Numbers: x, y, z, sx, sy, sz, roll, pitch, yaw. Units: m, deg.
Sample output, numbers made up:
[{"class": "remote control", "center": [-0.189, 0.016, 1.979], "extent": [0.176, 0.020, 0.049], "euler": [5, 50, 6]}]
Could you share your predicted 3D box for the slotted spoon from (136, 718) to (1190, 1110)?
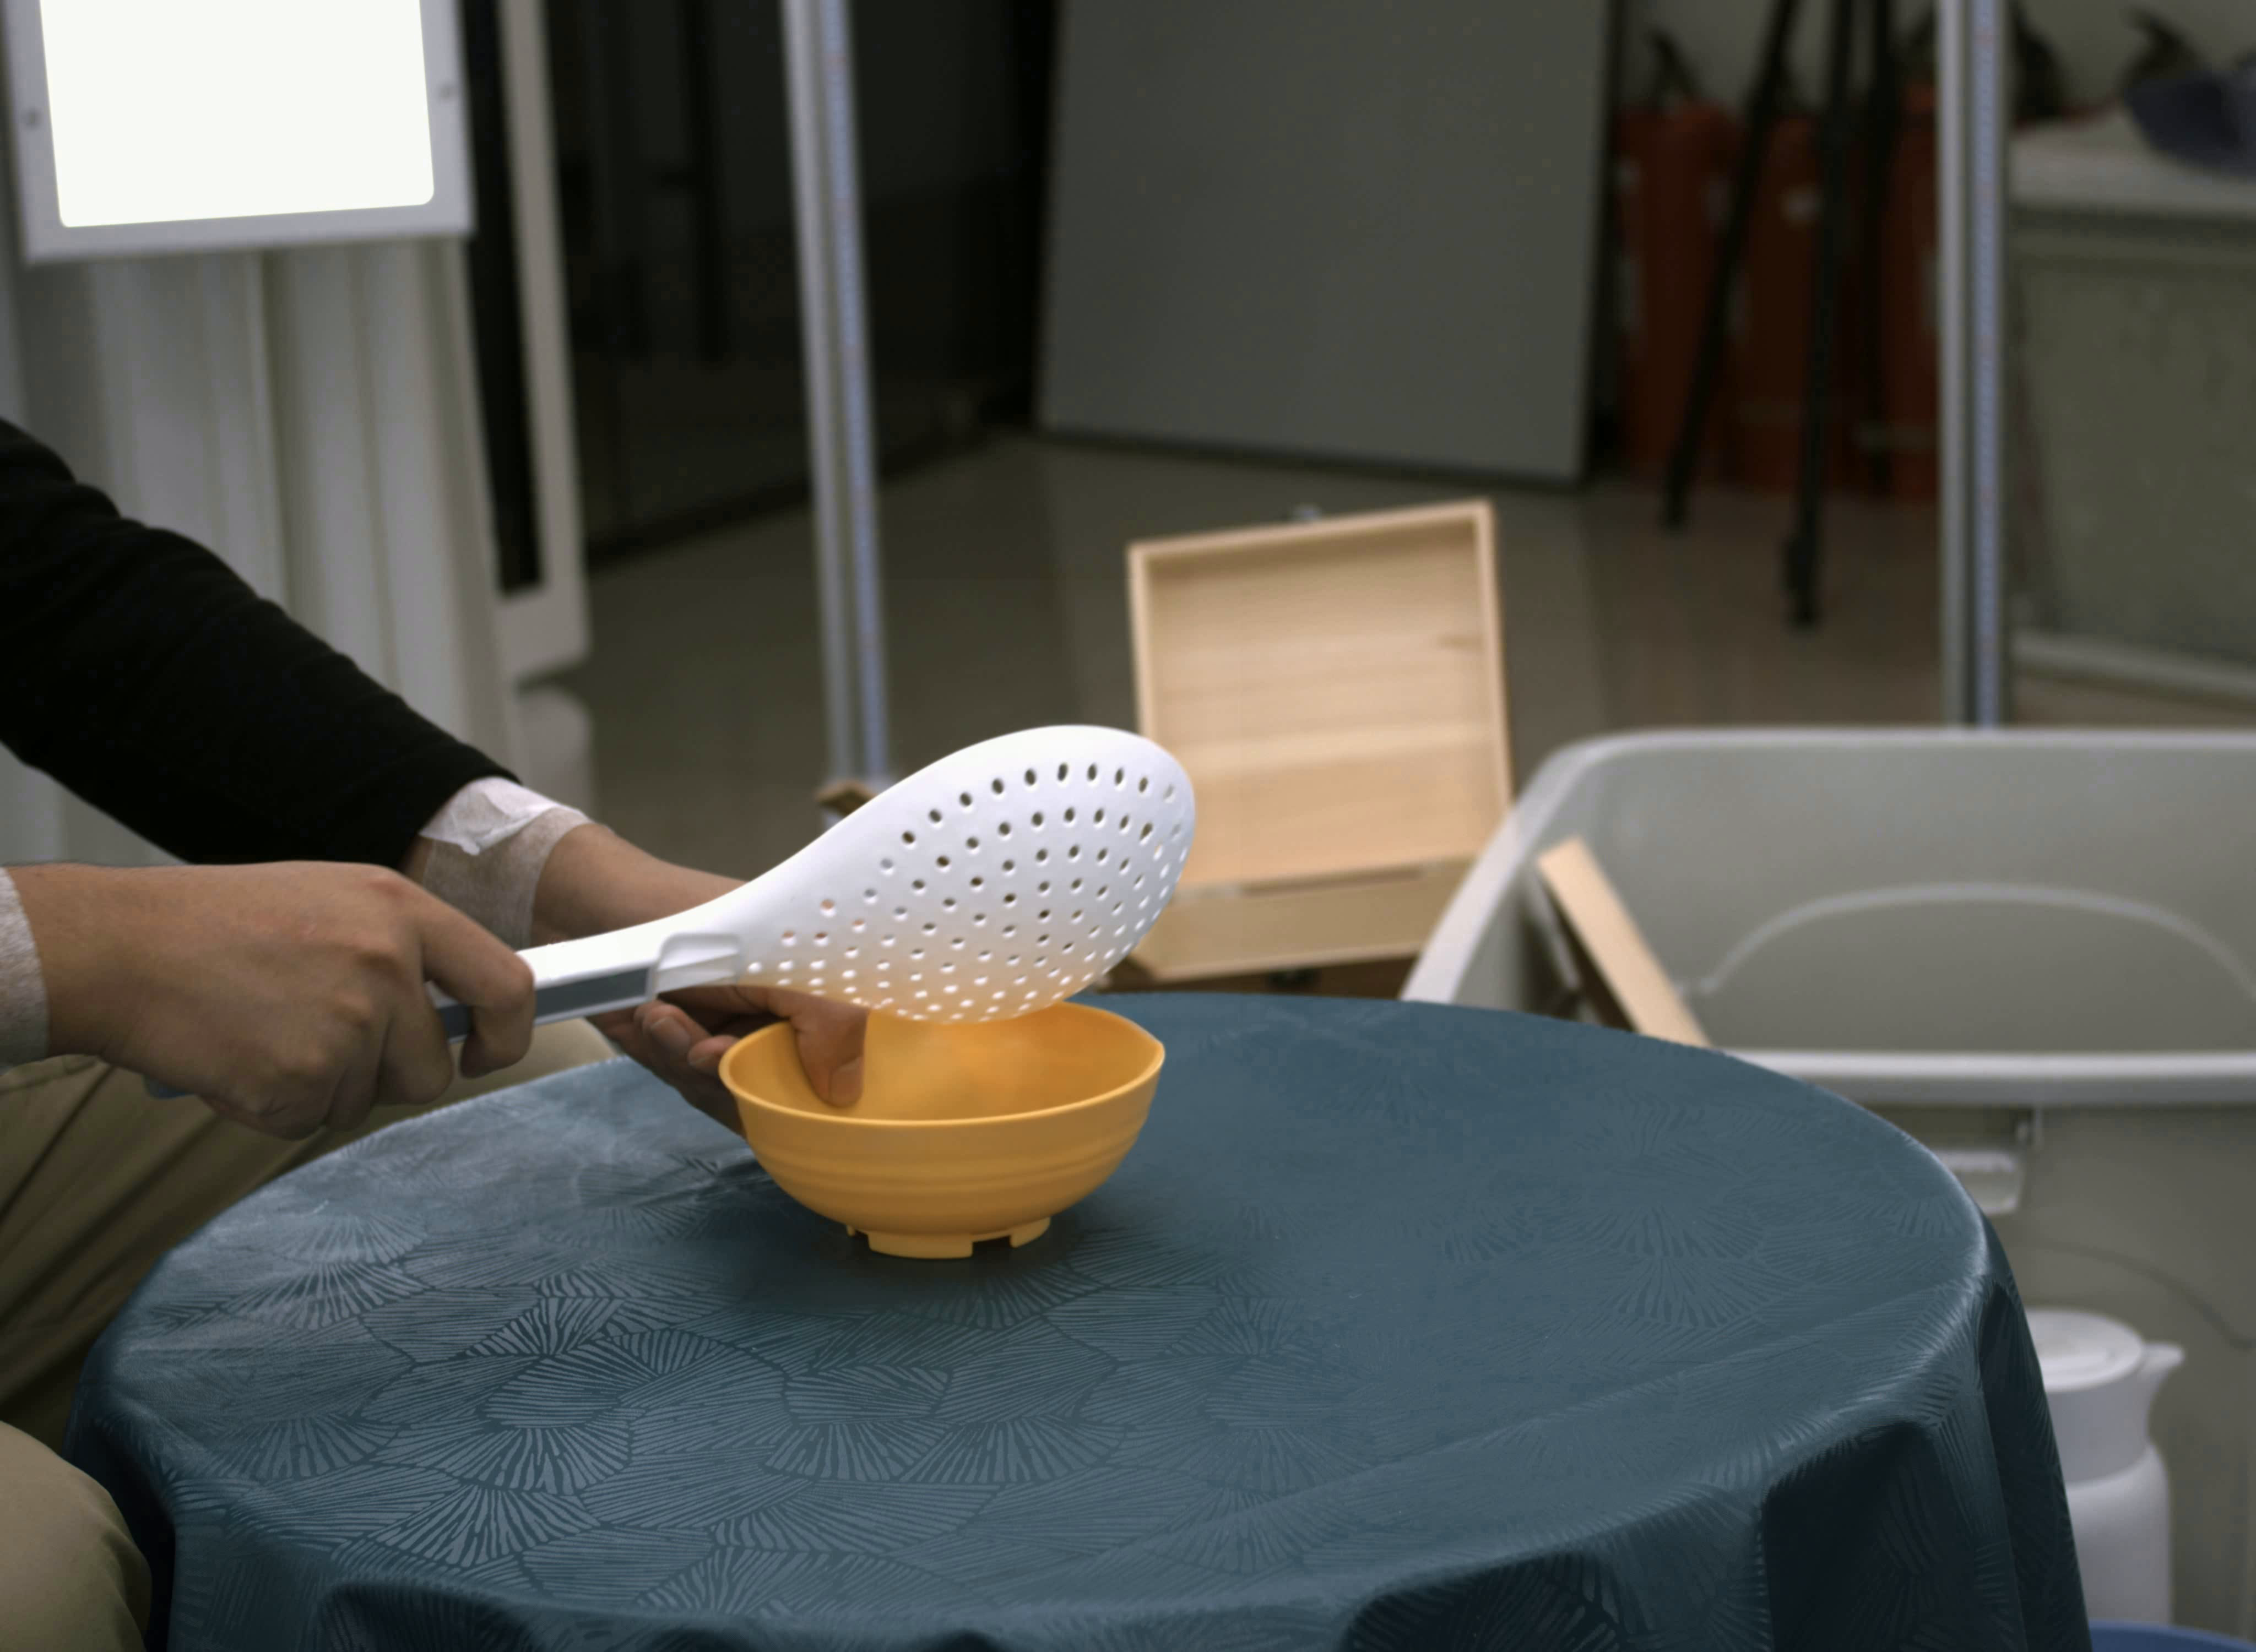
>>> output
[{"class": "slotted spoon", "center": [-0.139, 0.040, 1.698], "extent": [0.343, 0.137, 0.046], "euler": [-8, 50, -14]}]

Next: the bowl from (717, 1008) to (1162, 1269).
[{"class": "bowl", "center": [-0.060, 0.104, 1.737], "extent": [0.143, 0.061, 0.145], "euler": [-1, 12, -1]}]
